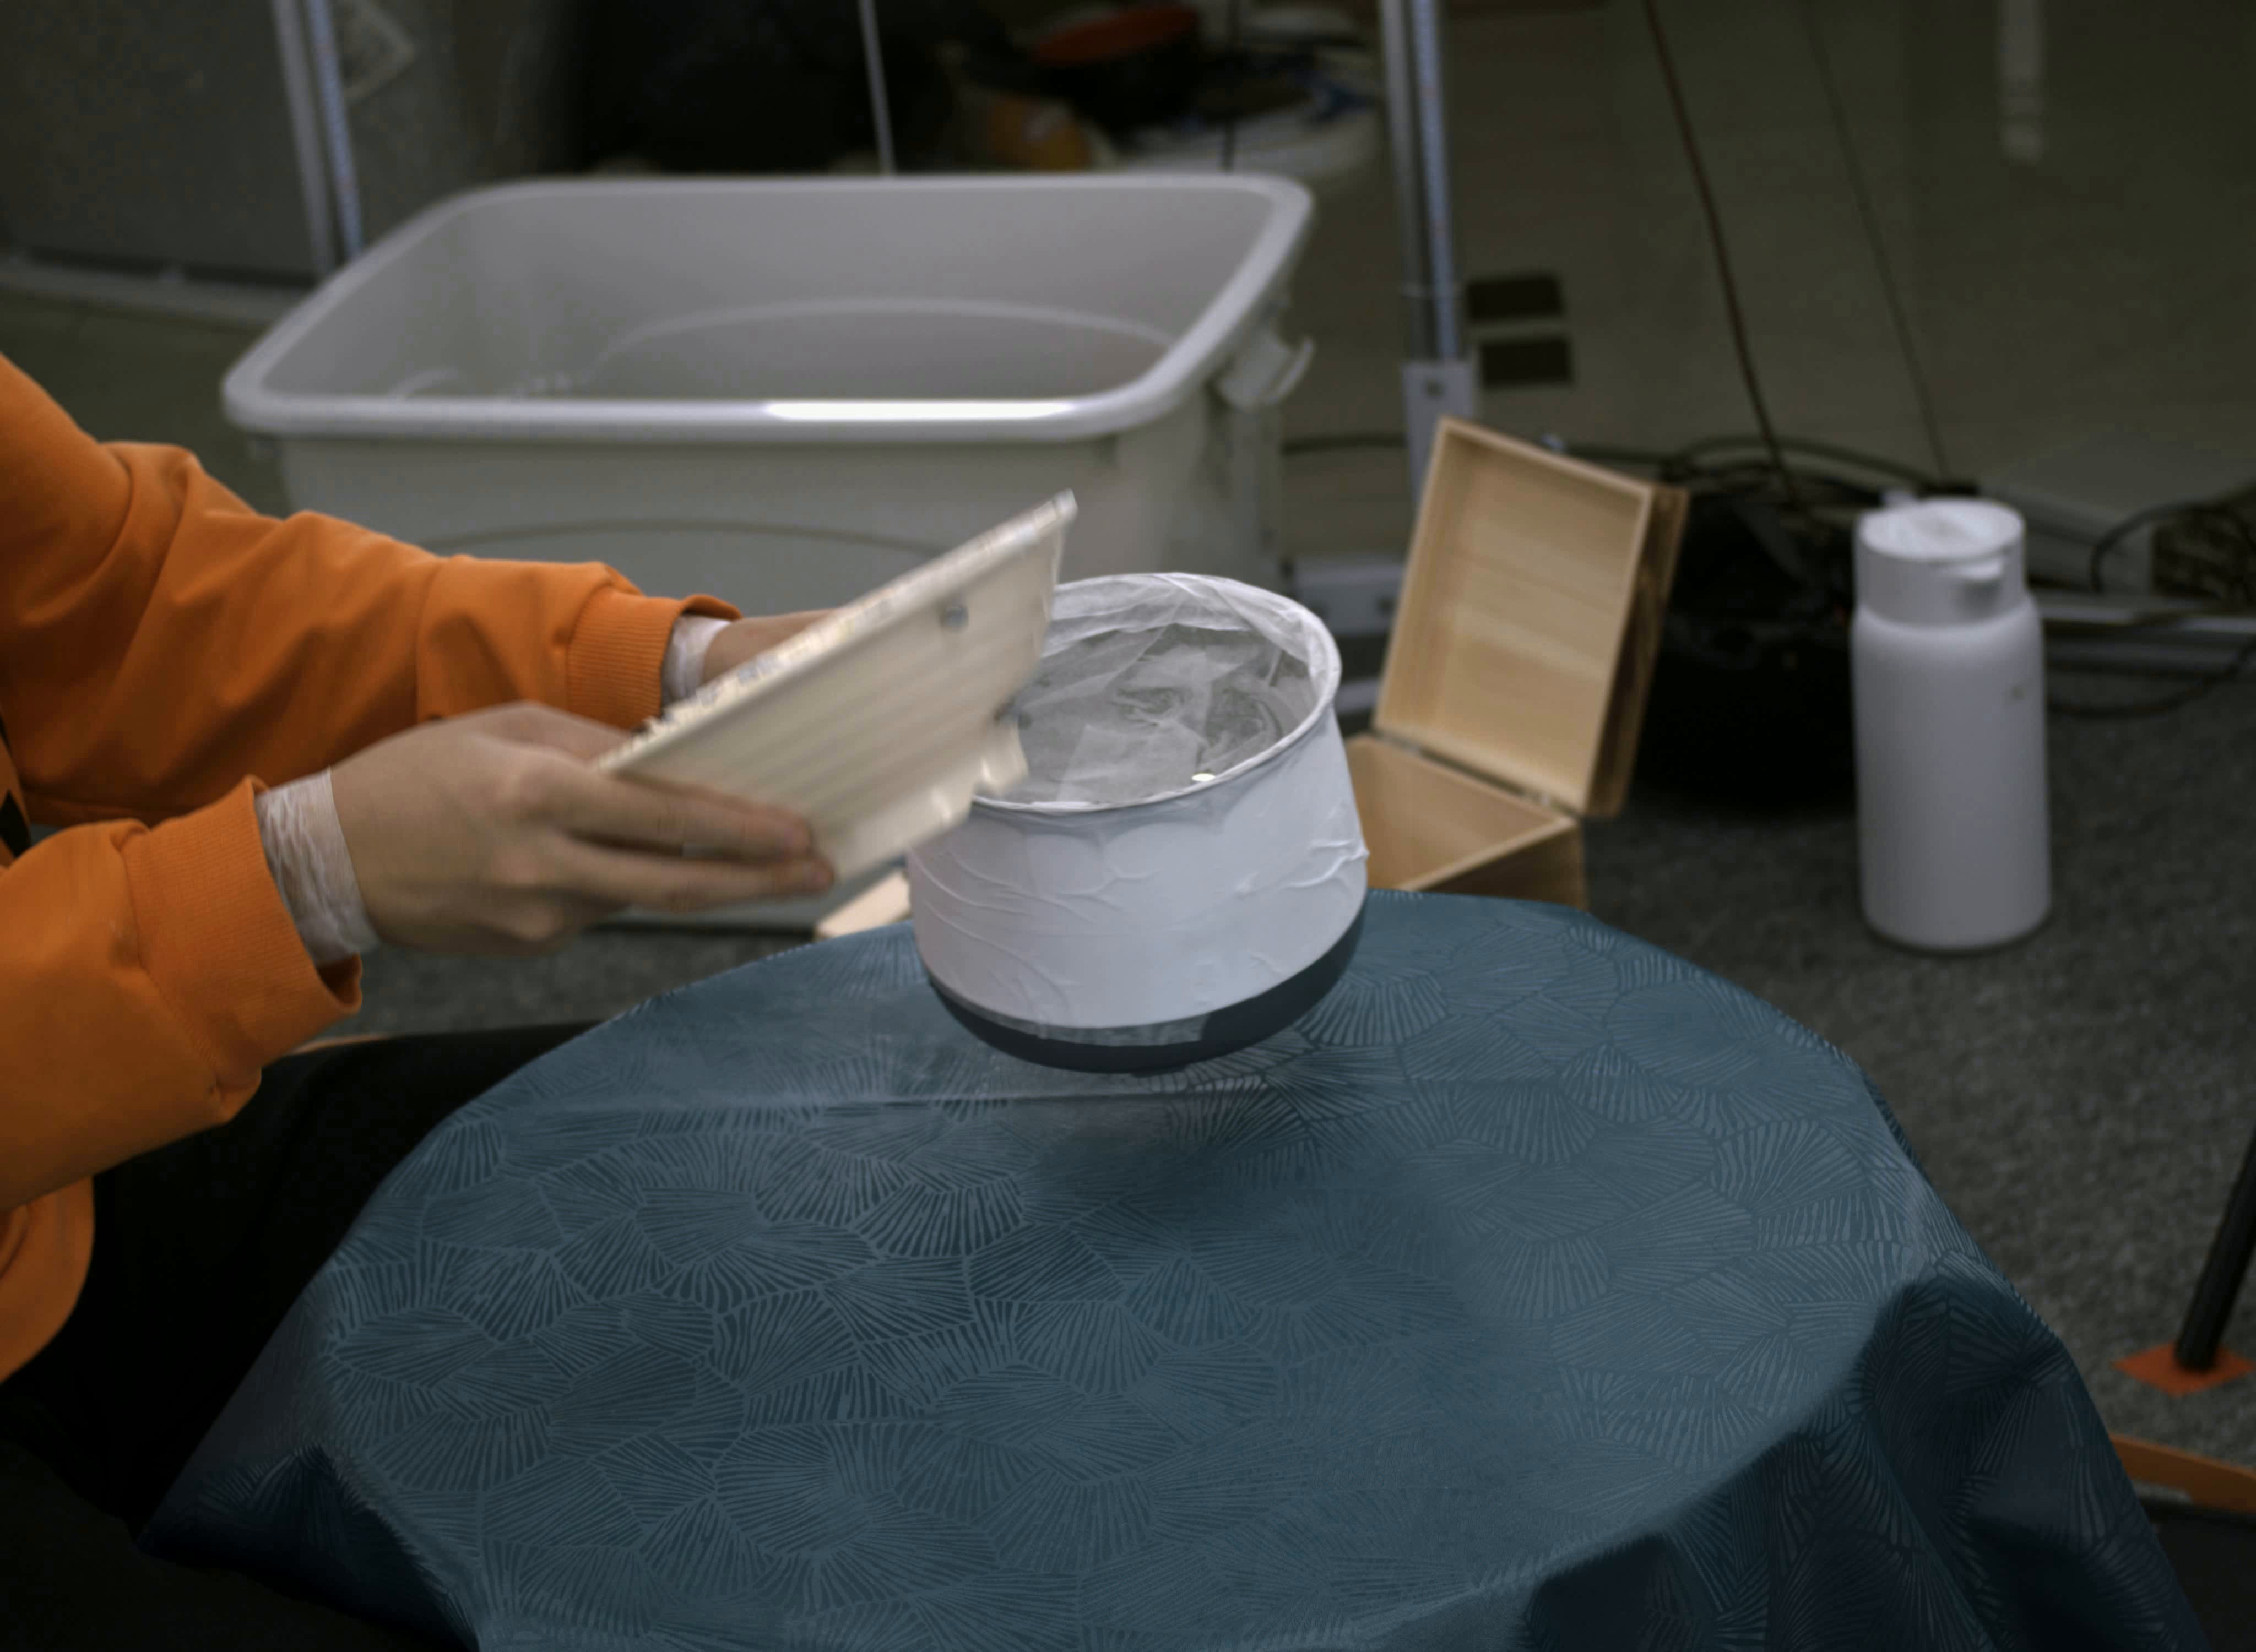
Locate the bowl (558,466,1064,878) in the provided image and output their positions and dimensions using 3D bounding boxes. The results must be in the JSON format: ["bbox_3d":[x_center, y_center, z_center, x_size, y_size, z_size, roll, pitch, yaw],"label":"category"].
[{"bbox_3d":[-0.089,-0.037,1.930,0.204,0.078,0.203,-33,4,3],"label":"bowl"}]

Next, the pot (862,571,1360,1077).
[{"bbox_3d":[-0.023,-0.006,2.186,0.232,0.139,0.177,20,41,37],"label":"pot"}]
